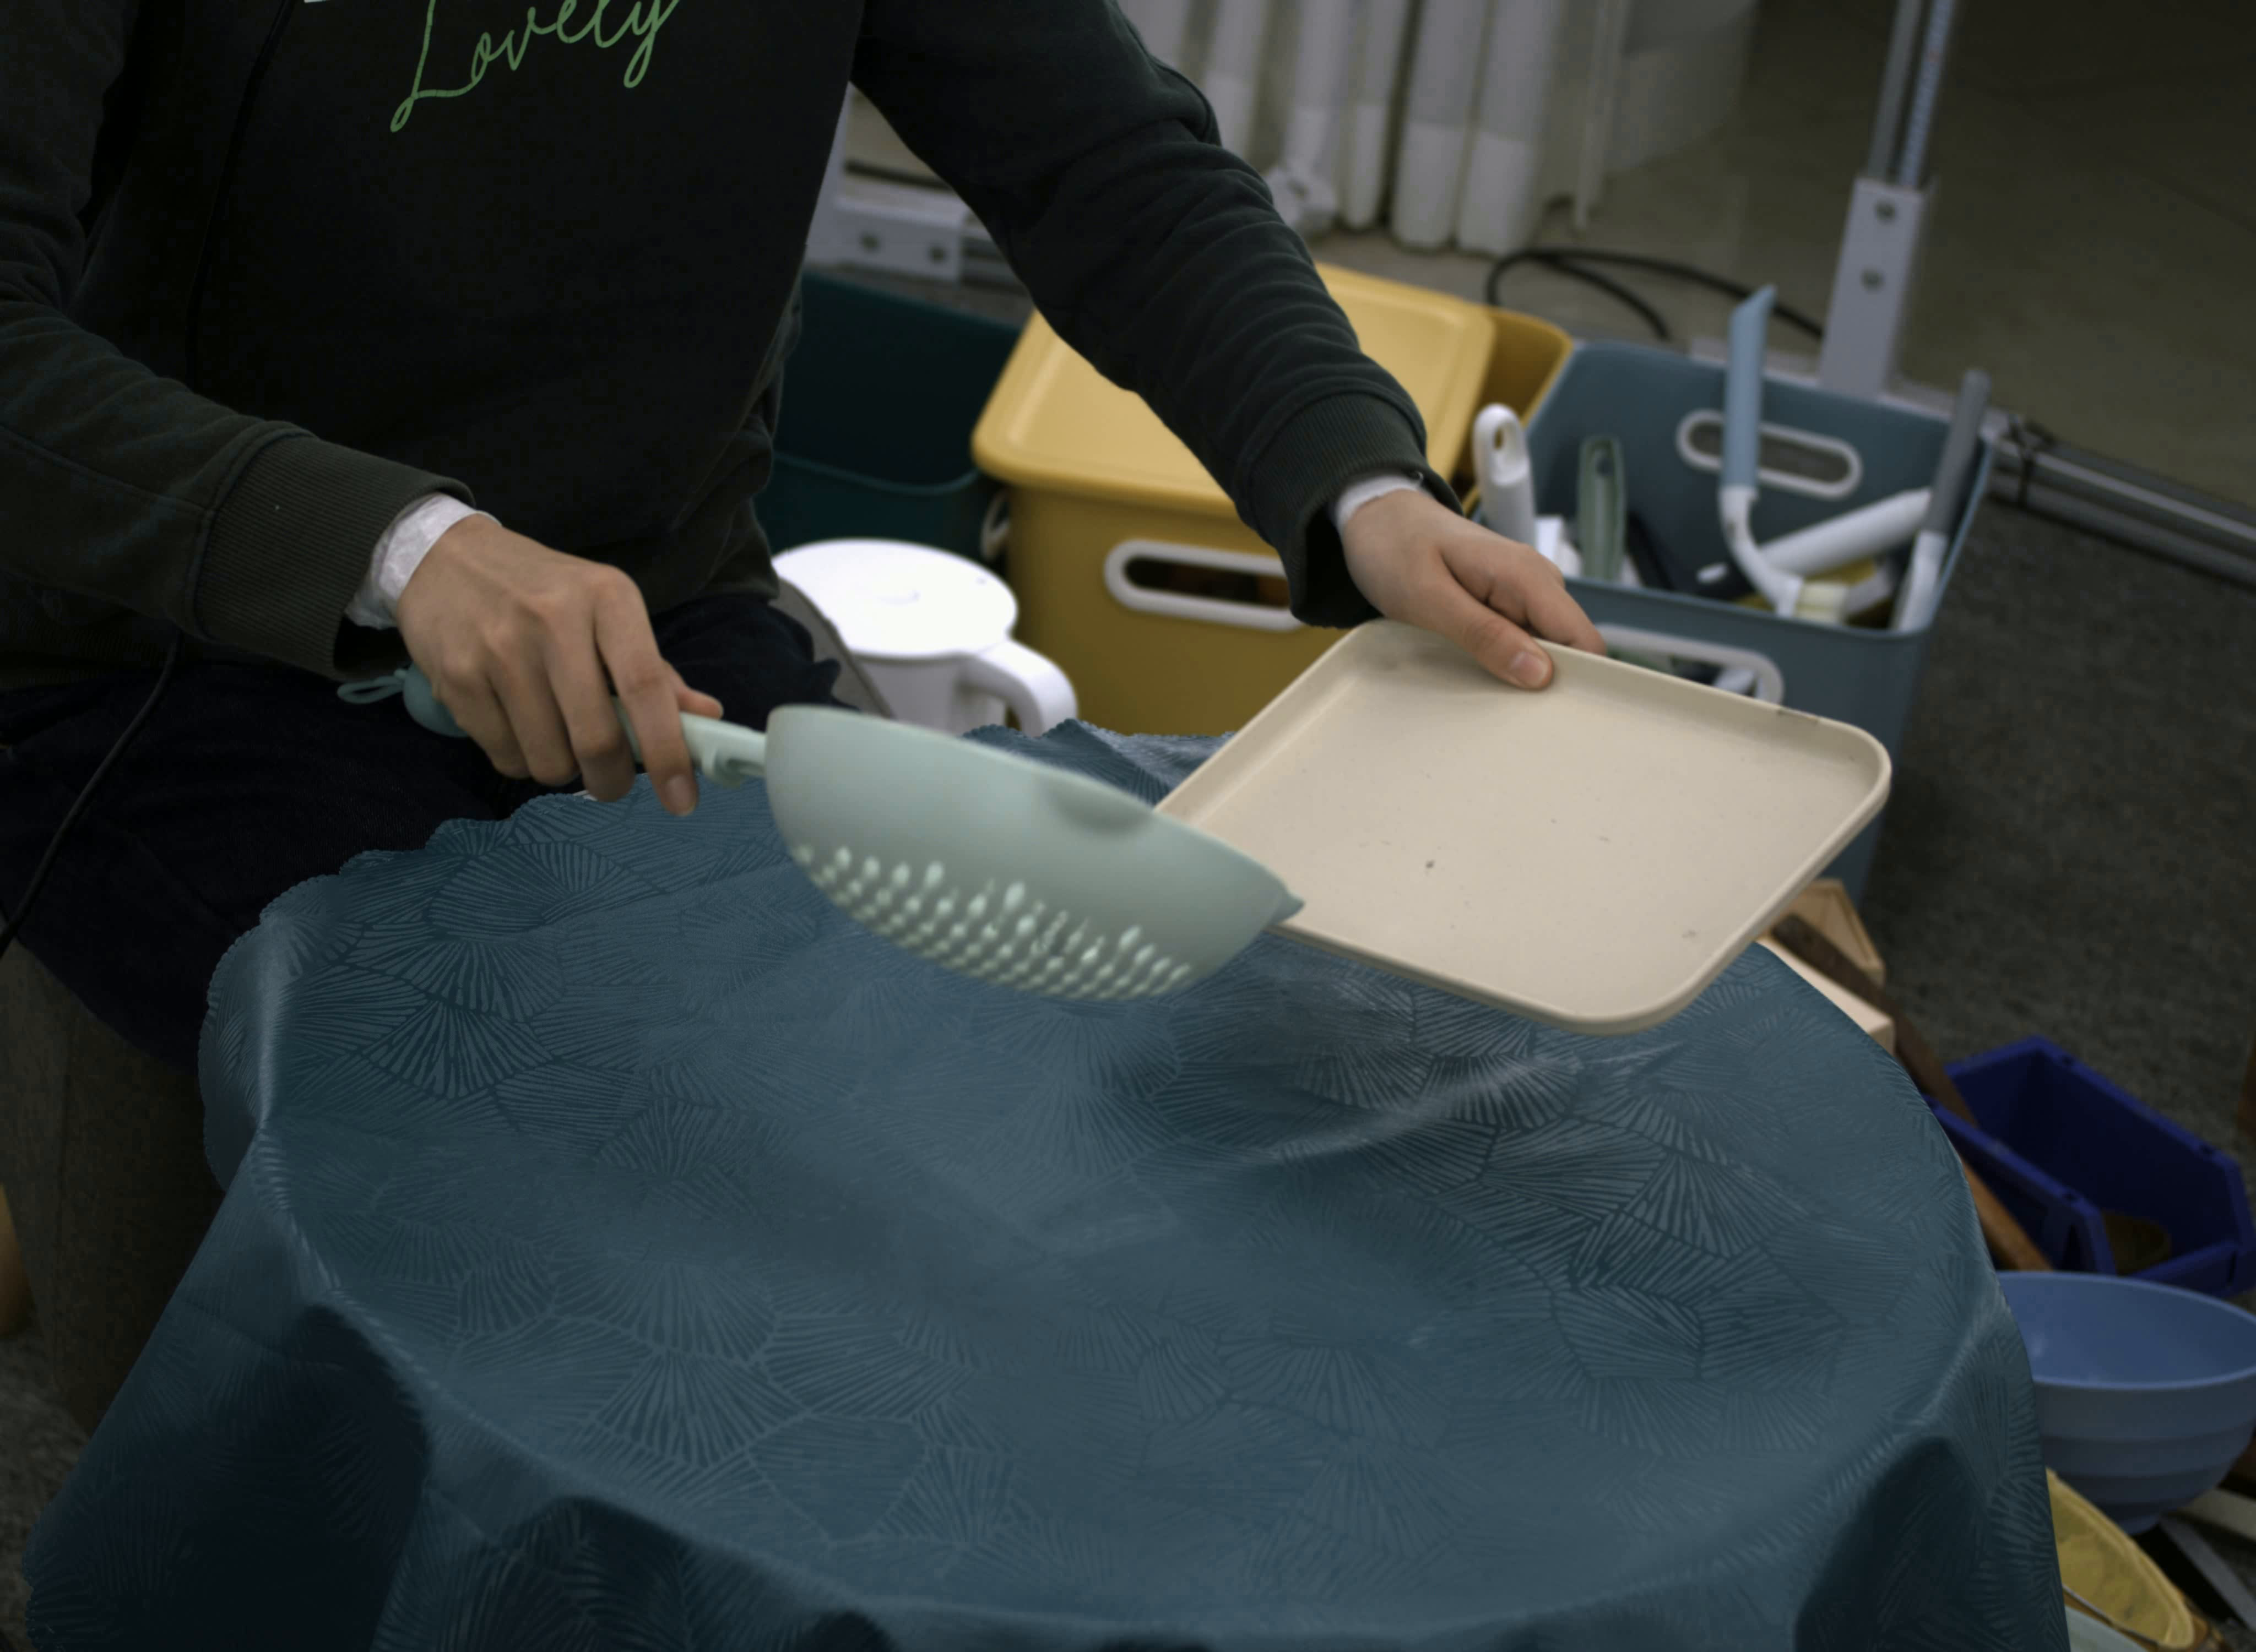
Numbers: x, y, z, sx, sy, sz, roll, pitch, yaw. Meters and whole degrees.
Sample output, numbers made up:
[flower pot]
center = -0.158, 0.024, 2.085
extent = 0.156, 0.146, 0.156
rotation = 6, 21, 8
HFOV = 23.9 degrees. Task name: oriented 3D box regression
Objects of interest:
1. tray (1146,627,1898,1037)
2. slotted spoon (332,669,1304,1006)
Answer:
[tray]
center = 0.133, 0.001, 1.833
extent = 0.241, 0.017, 0.171
rotation = 16, 46, 40
[slotted spoon]
center = -0.115, -0.012, 1.699
extent = 0.361, 0.075, 0.168
rotation = 22, -5, 34
